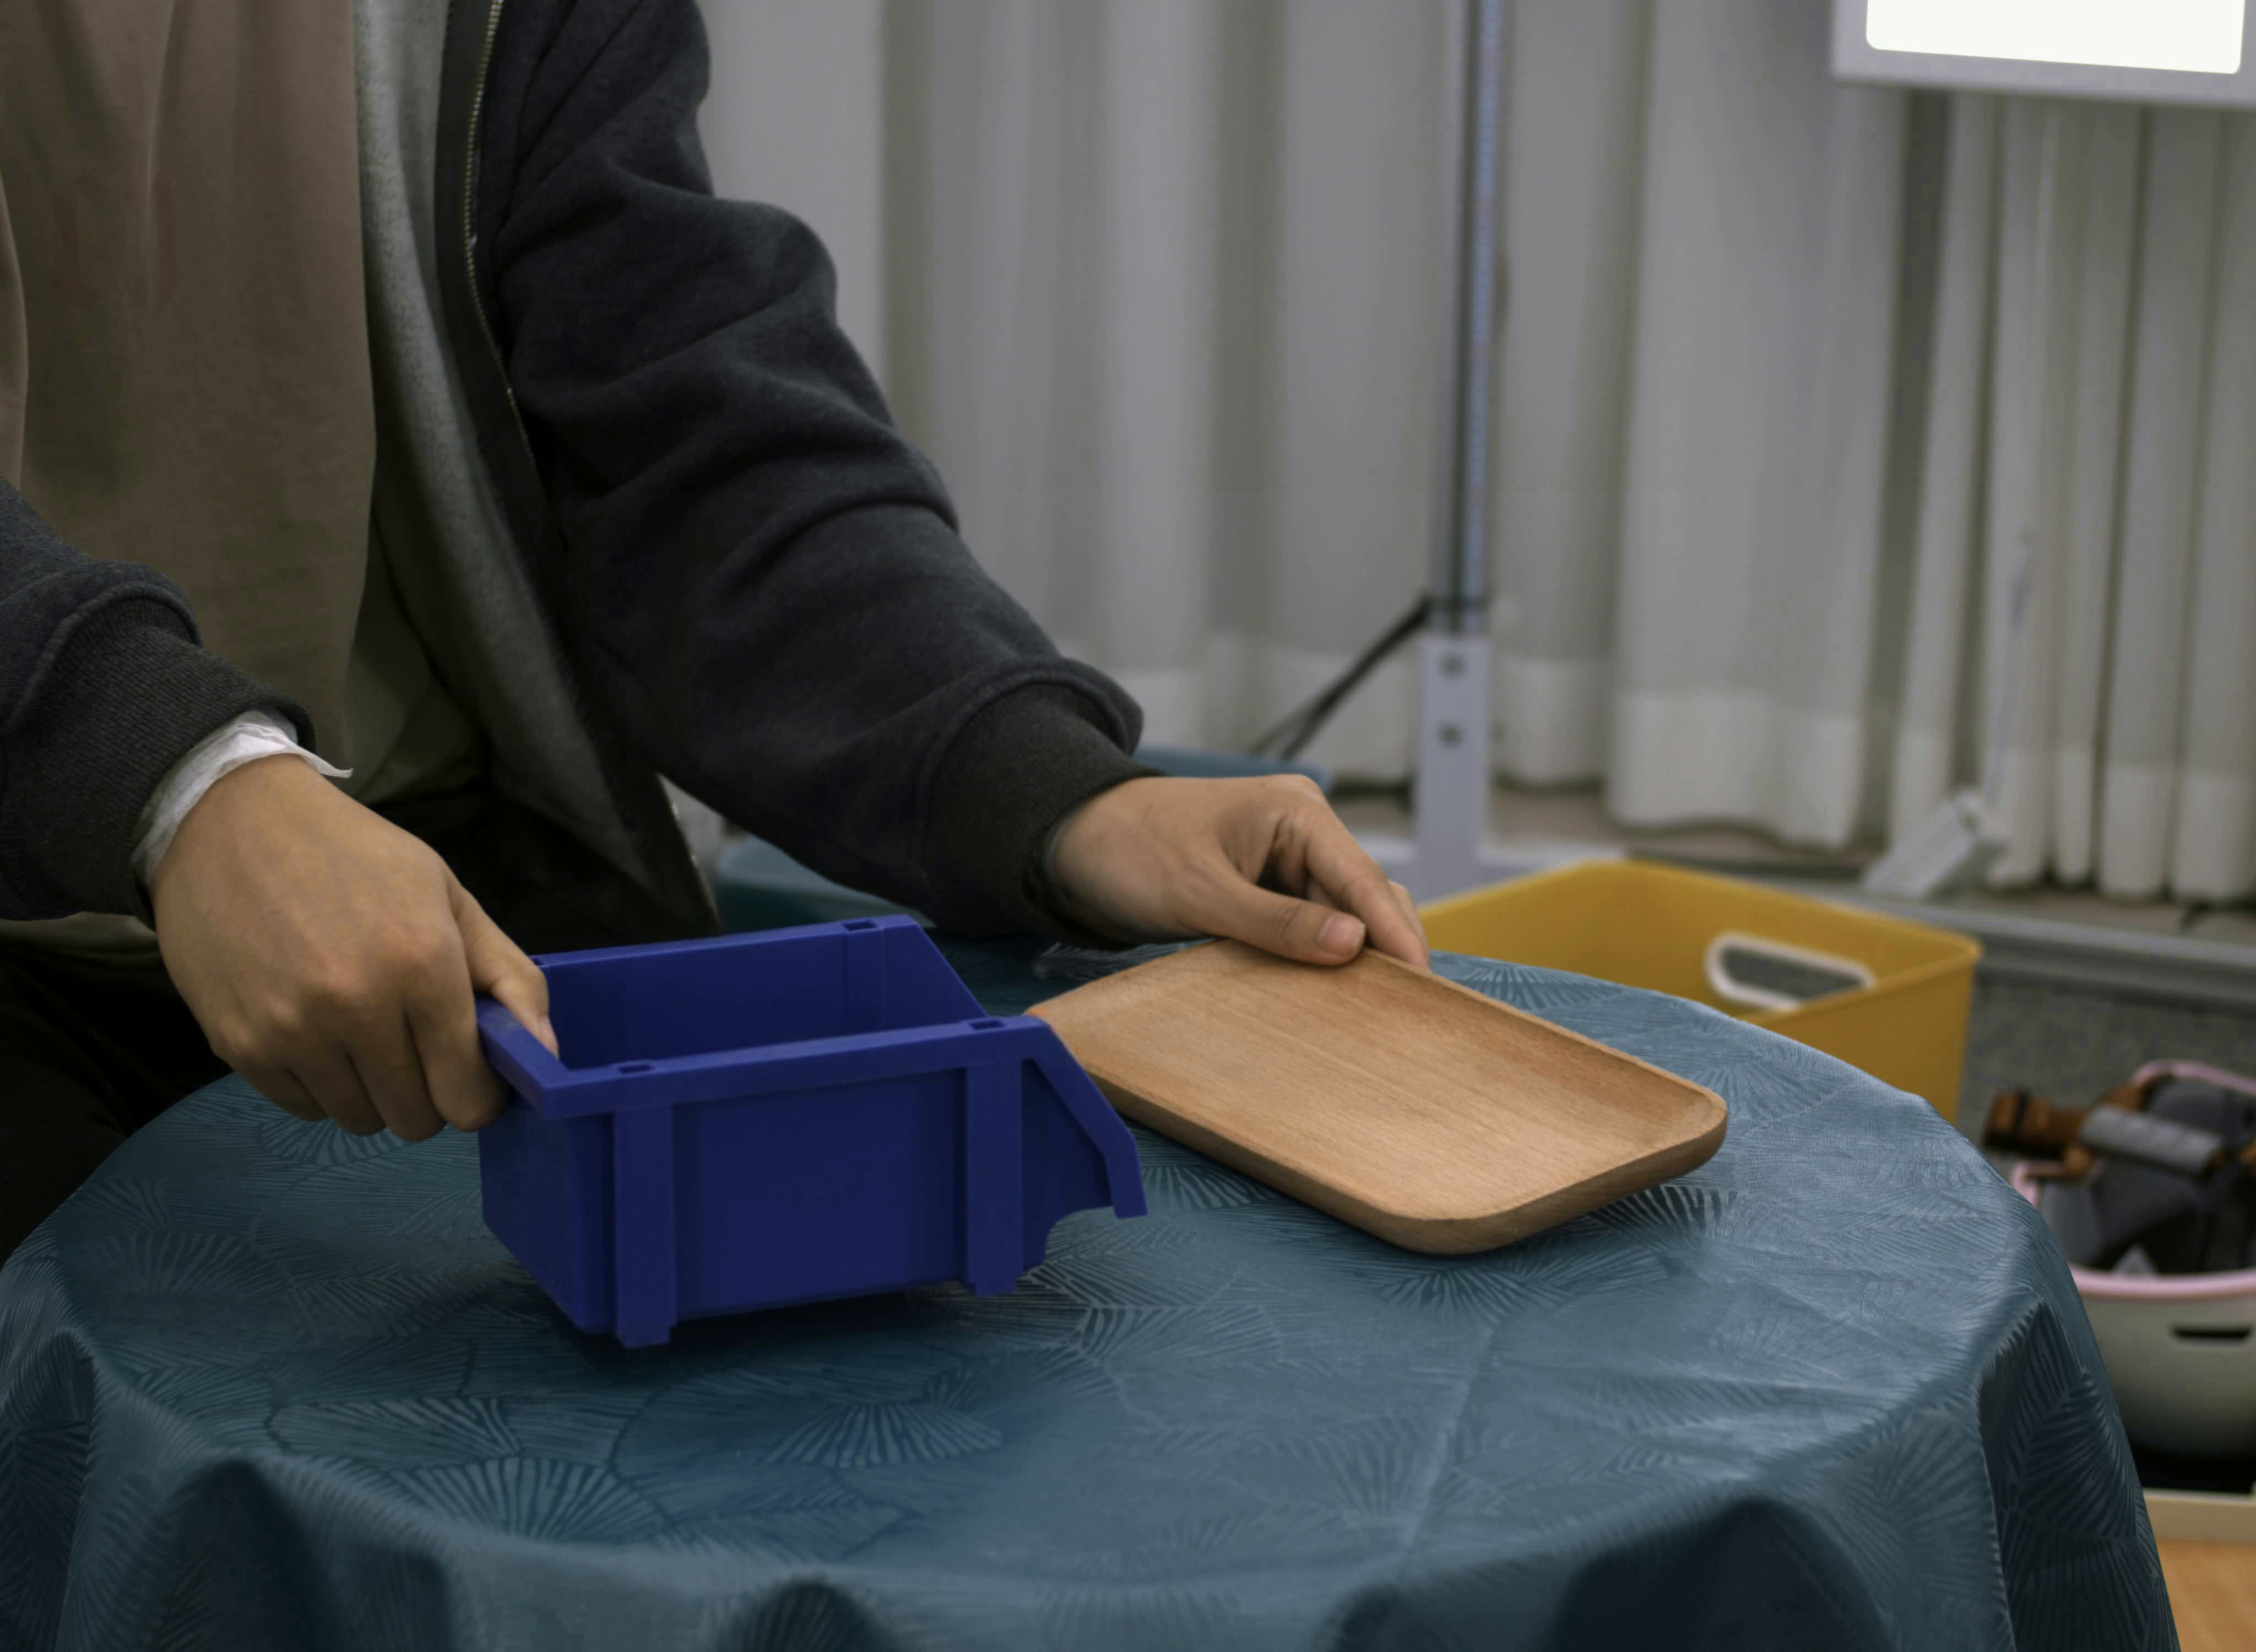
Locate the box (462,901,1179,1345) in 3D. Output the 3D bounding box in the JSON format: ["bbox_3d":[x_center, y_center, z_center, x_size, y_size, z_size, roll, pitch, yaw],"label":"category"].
[{"bbox_3d":[-0.090,0.082,1.527,0.180,0.082,0.123,-9,18,-19],"label":"box"}]

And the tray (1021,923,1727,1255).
[{"bbox_3d":[0.073,0.081,1.677,0.131,0.023,0.247,-15,21,-31],"label":"tray"}]
